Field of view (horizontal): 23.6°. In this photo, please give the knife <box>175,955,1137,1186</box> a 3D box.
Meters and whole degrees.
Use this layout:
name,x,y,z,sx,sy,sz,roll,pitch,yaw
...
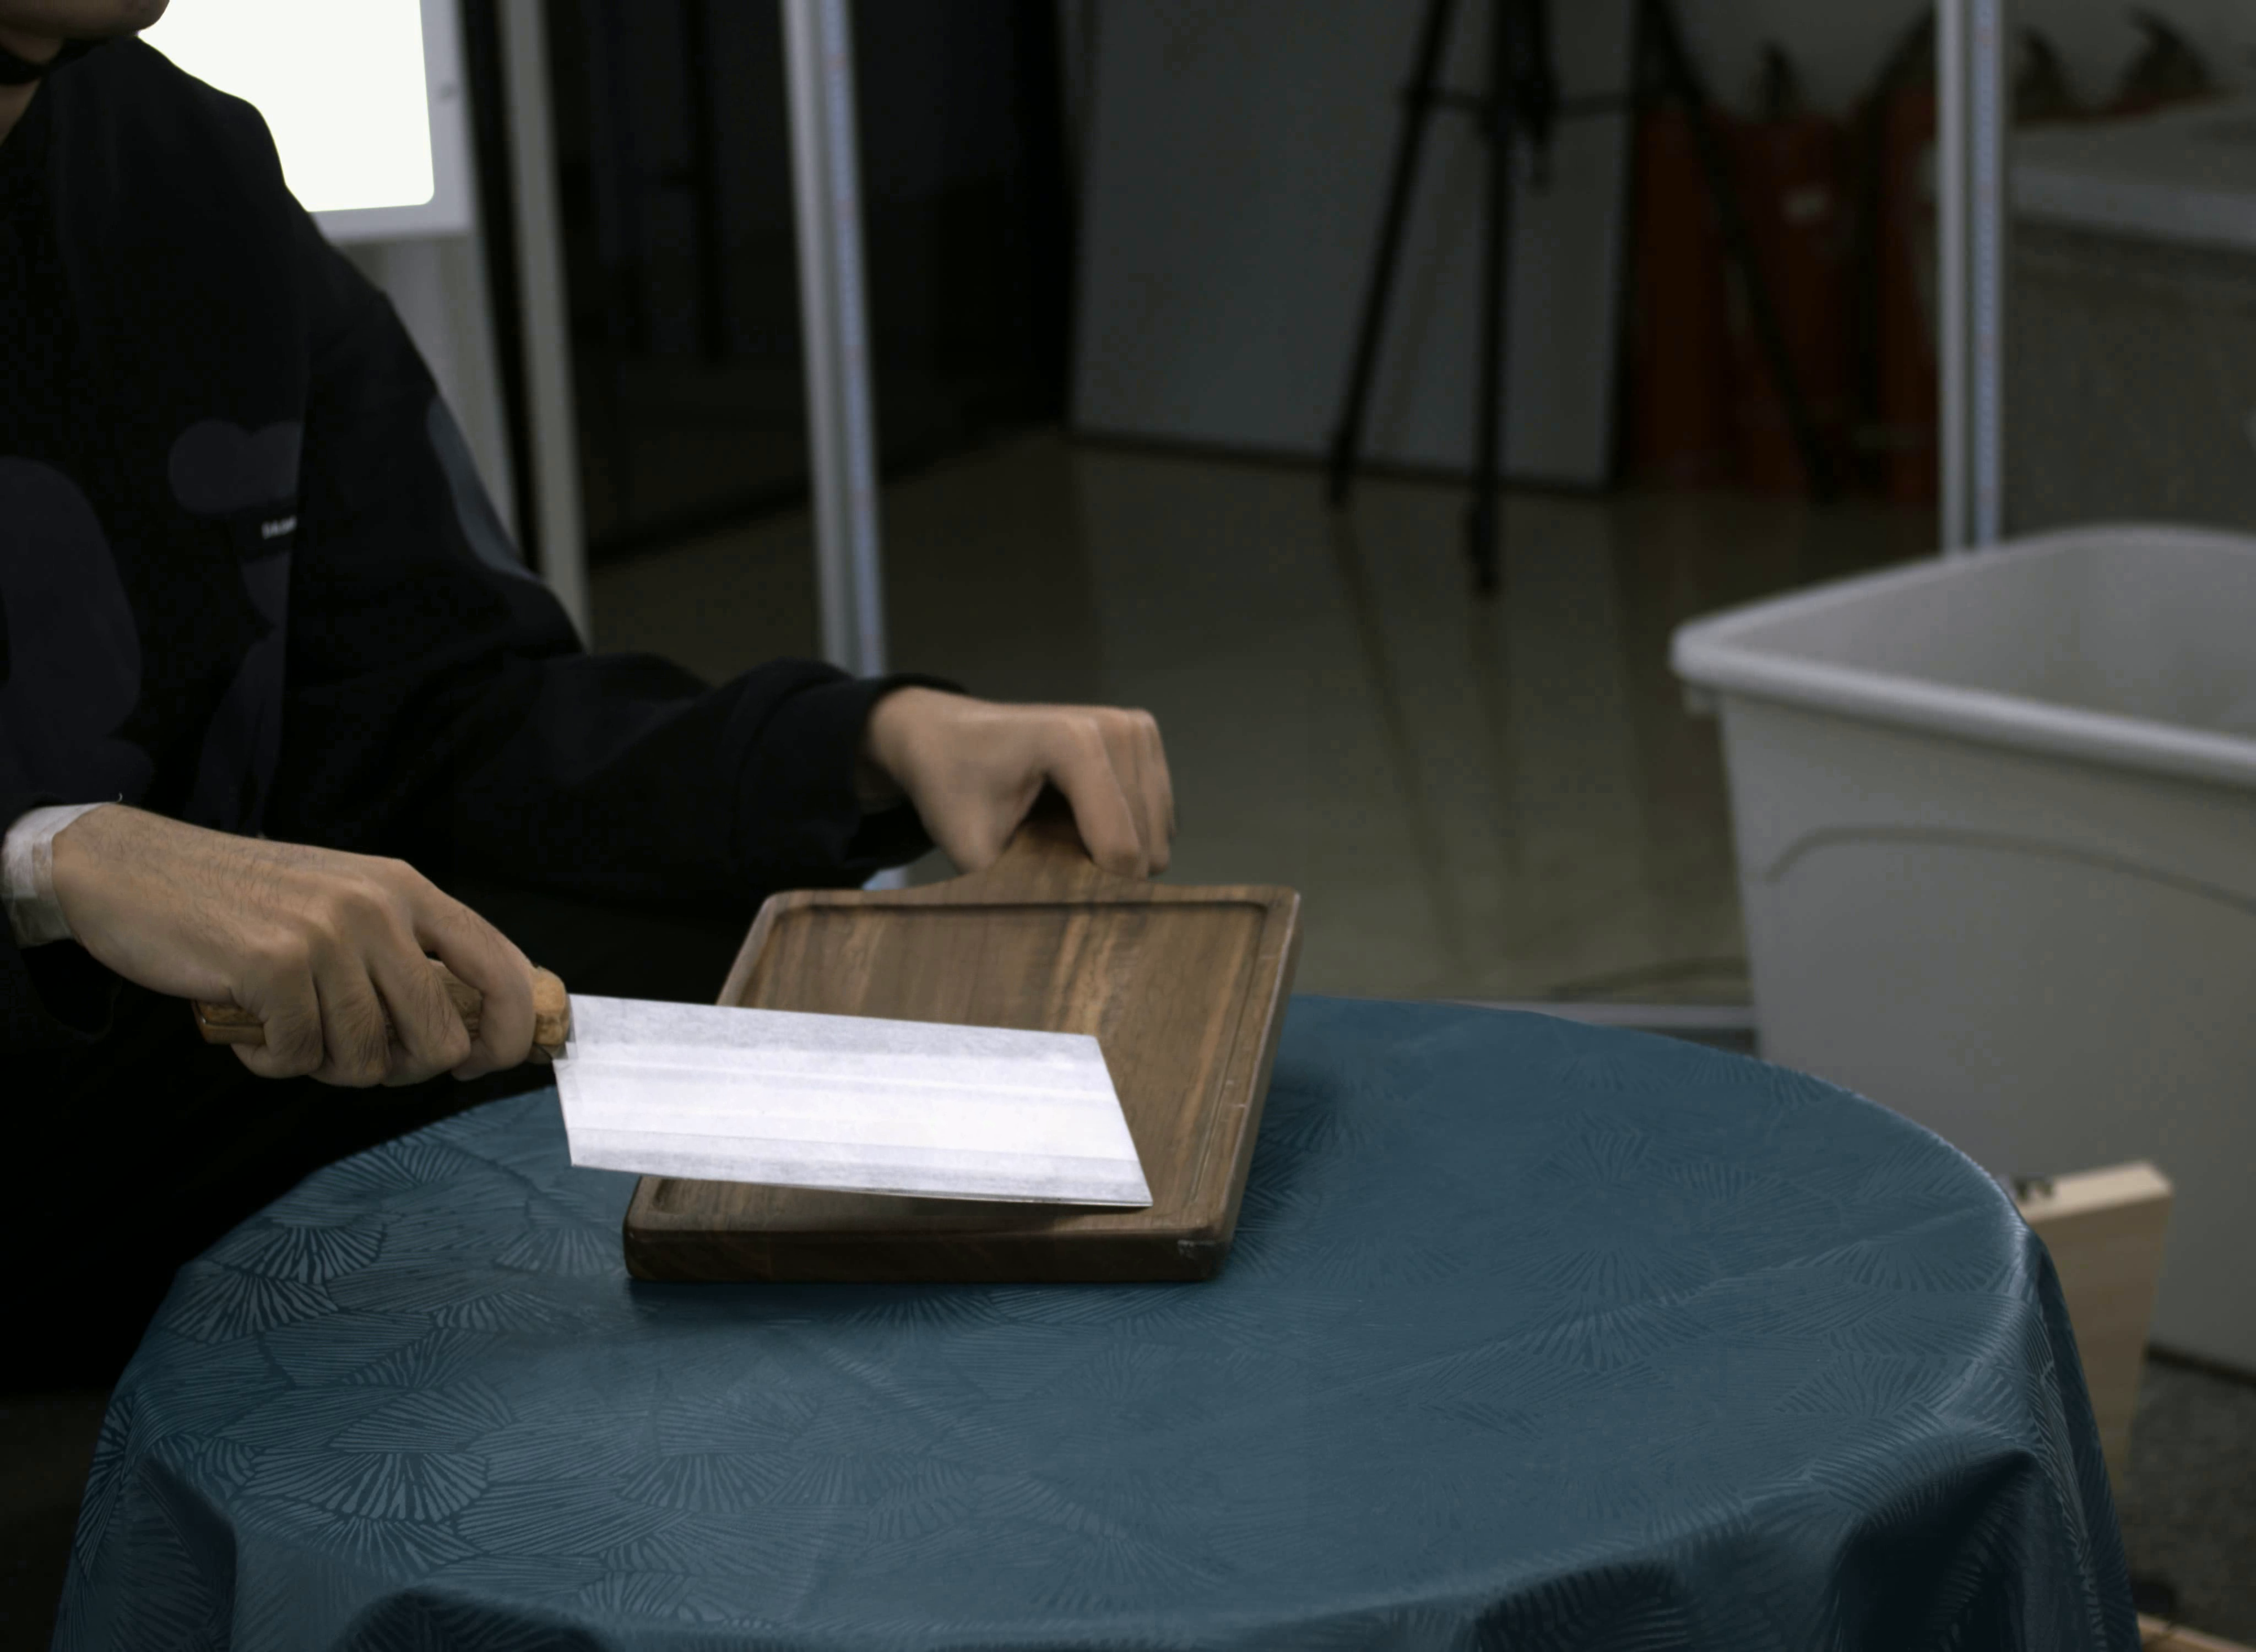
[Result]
name,x,y,z,sx,sy,sz,roll,pitch,yaw
knife,-0.143,0.080,1.687,0.299,0.021,0.094,5,33,-17

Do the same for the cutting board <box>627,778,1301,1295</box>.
name,x,y,z,sx,sy,sz,roll,pitch,yaw
cutting board,-0.043,0.064,1.844,0.199,0.023,0.352,-2,24,9
